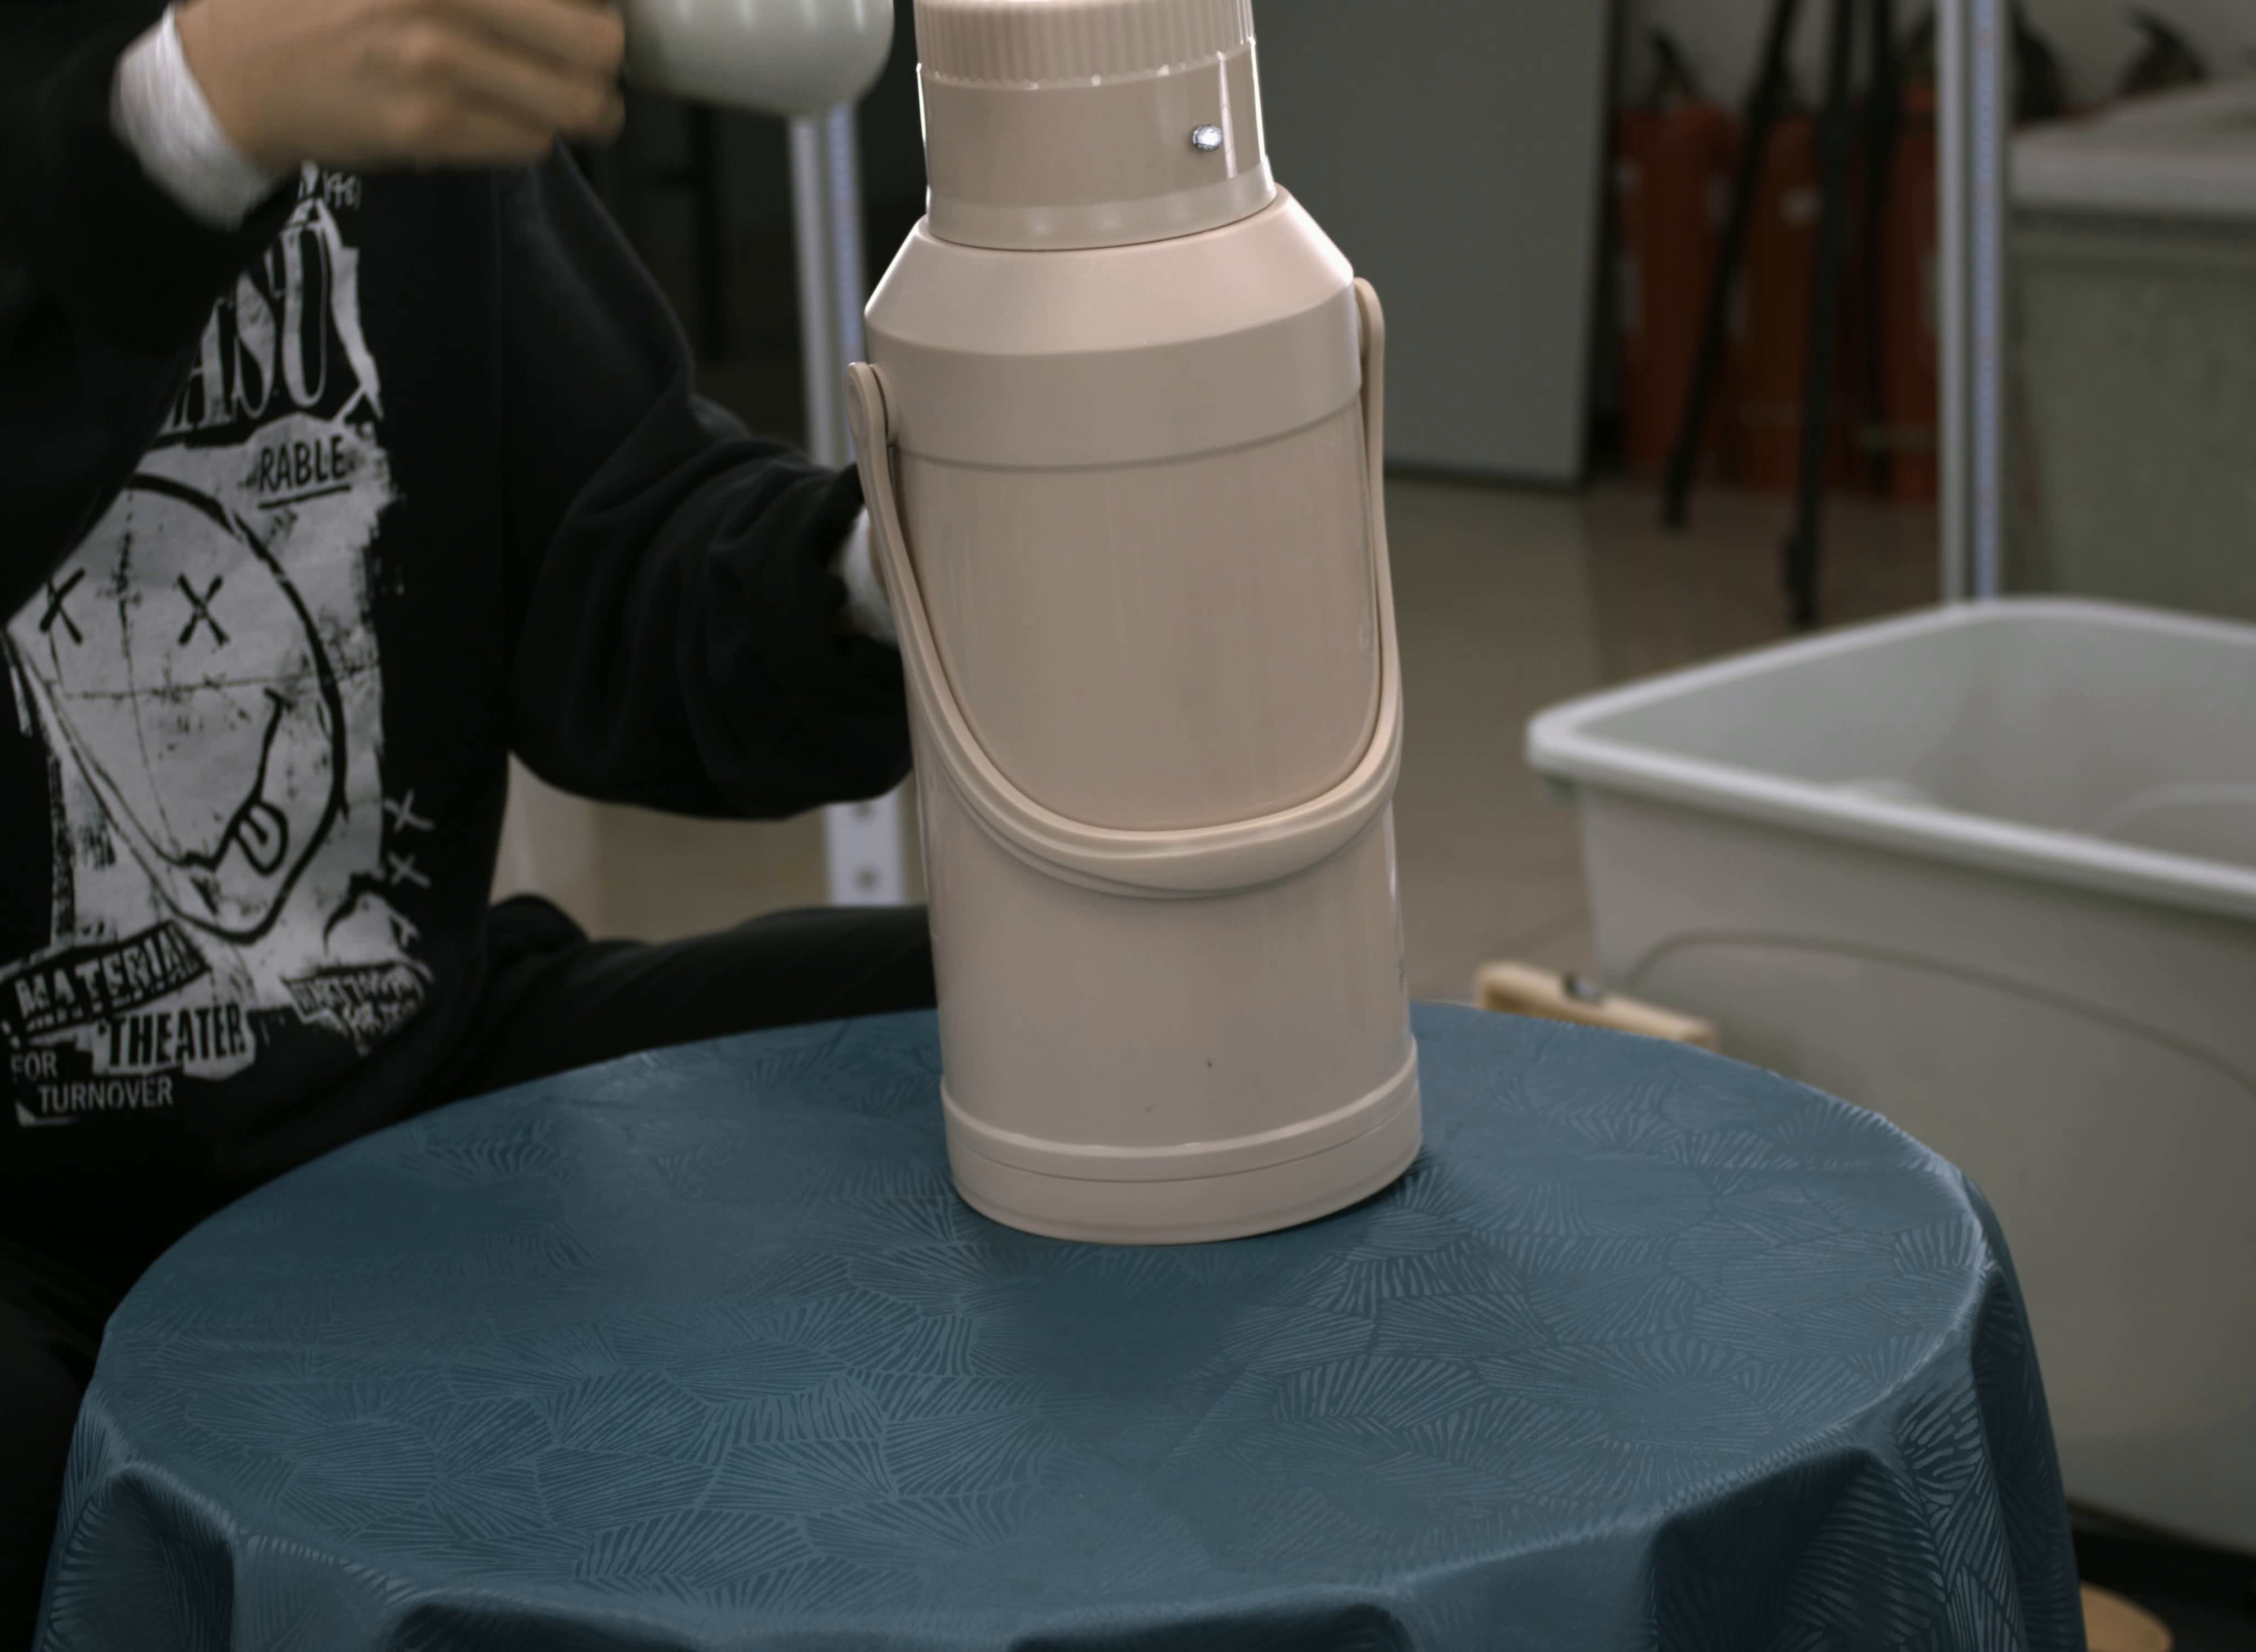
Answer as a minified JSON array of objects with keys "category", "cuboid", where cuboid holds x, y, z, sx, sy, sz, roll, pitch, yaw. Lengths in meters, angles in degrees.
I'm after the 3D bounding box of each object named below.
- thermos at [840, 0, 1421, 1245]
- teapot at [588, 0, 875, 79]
[{"category":"thermos","cuboid":[-0.003,-0.084,1.747,0.172,0.410,0.209,-13,19,-18]},{"category":"teapot","cuboid":[-0.125,-0.256,1.594,0.125,0.060,0.093,10,7,-37]}]
